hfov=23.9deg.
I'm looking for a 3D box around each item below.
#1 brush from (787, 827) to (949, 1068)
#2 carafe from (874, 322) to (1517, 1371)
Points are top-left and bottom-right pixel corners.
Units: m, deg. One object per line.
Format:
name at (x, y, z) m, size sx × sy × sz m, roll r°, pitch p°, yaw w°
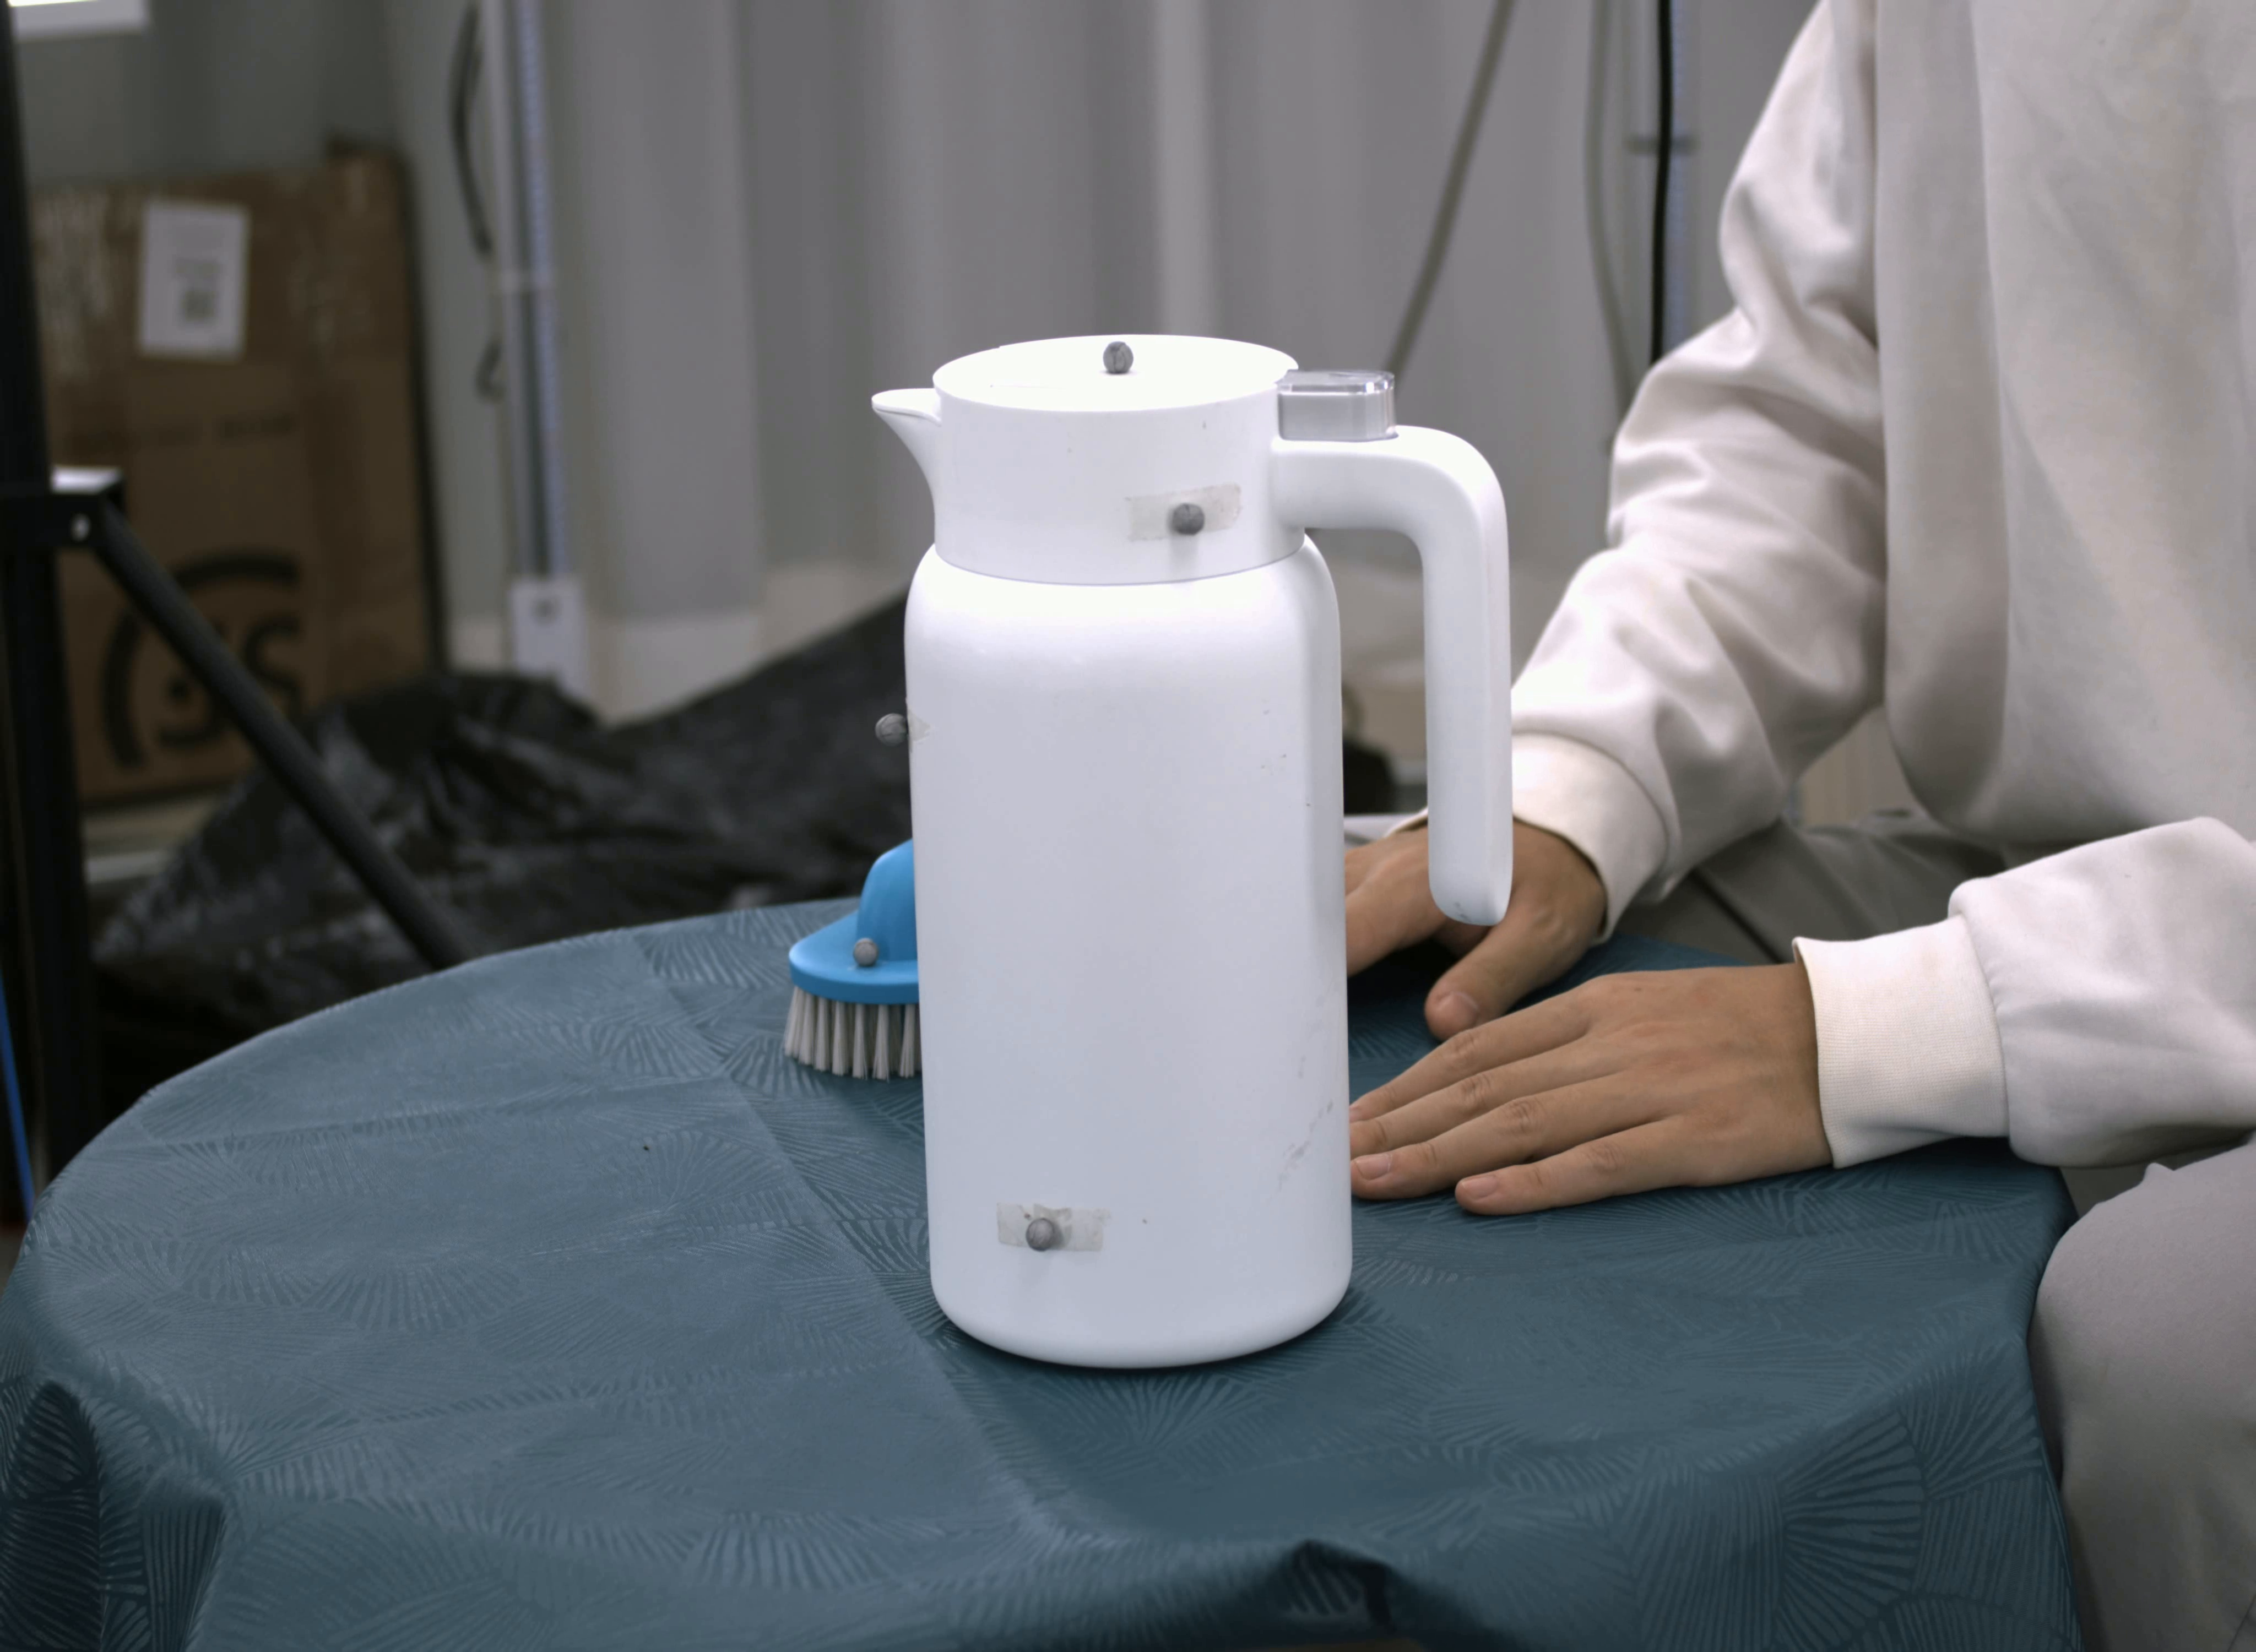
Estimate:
brush at (-0.056, 0.030, 1.724) m, size 0.086 × 0.064 × 0.139 m, roll 1°, pitch 15°, yaw 30°
carafe at (0.019, 0.006, 1.432) m, size 0.174 × 0.269 × 0.122 m, roll 3°, pitch 14°, yaw 16°
